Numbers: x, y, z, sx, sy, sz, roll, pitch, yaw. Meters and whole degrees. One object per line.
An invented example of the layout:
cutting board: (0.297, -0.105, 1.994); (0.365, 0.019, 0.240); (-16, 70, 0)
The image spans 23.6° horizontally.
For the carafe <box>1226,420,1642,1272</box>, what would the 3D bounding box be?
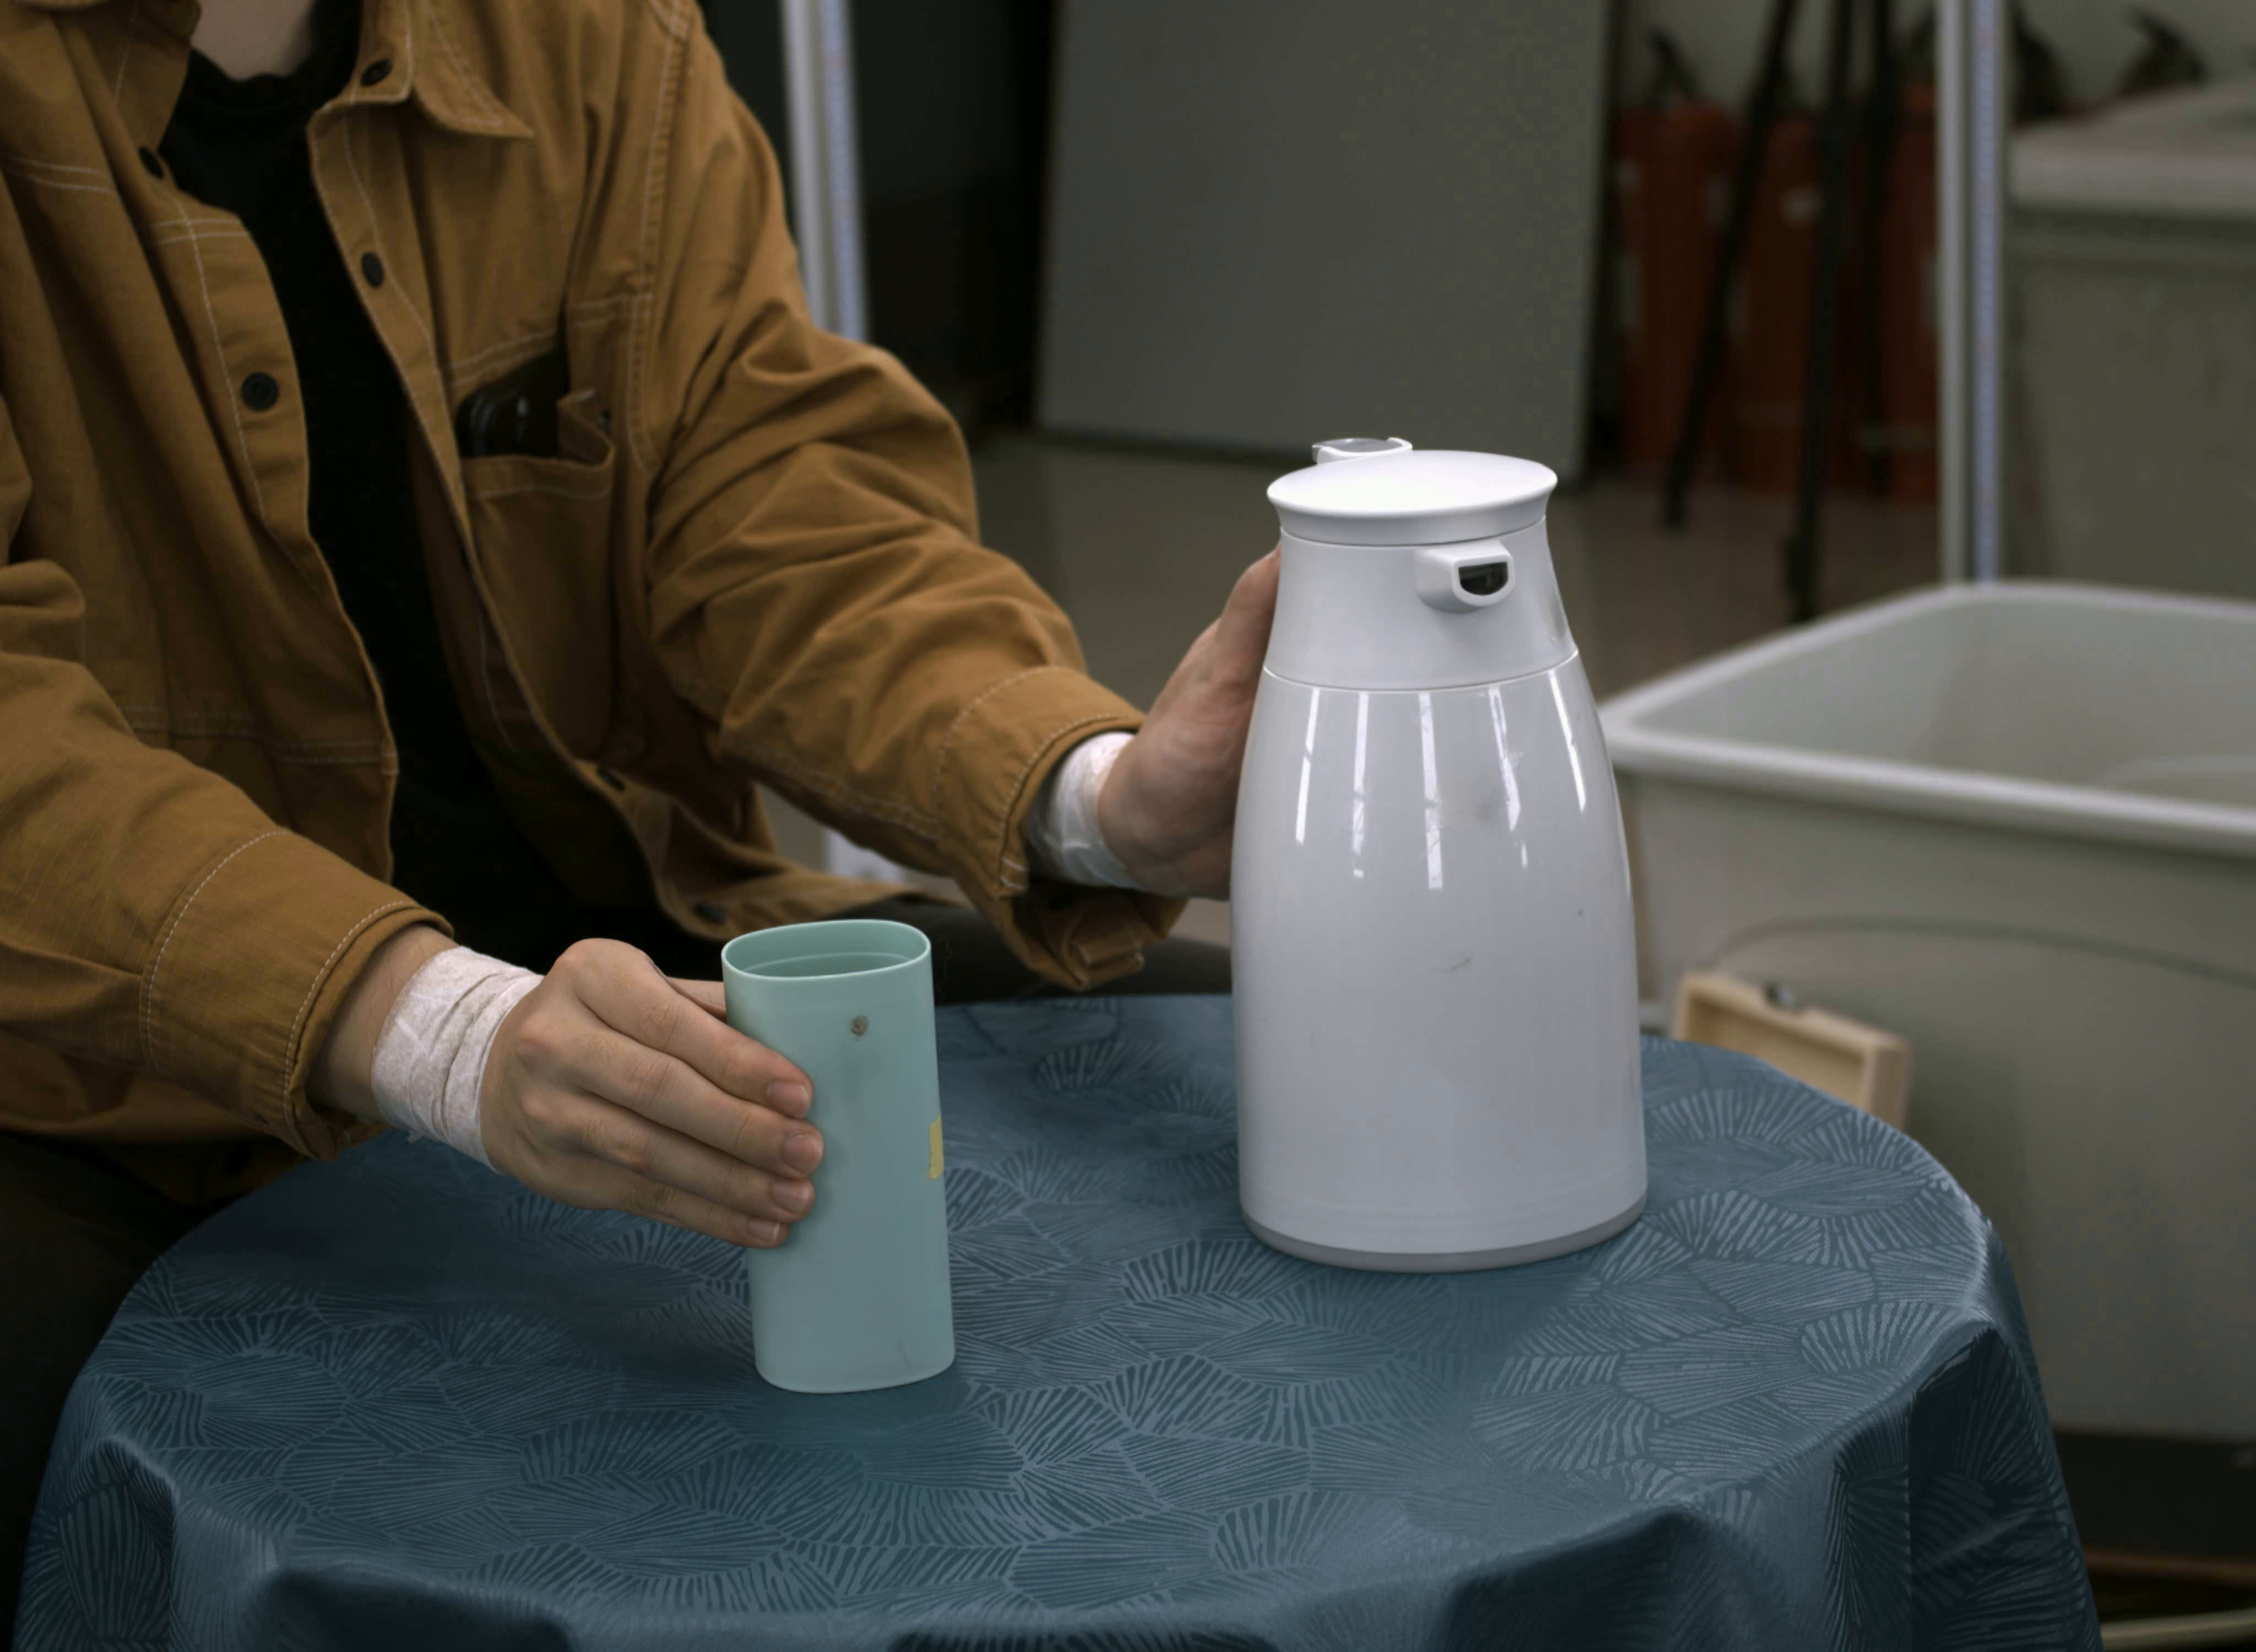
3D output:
carafe: (0.087, -0.002, 1.724); (0.130, 0.251, 0.169); (-8, 13, -16)

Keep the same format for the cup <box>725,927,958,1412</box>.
cup: (-0.086, 0.102, 1.619); (0.066, 0.134, 0.067); (-4, 13, 0)
